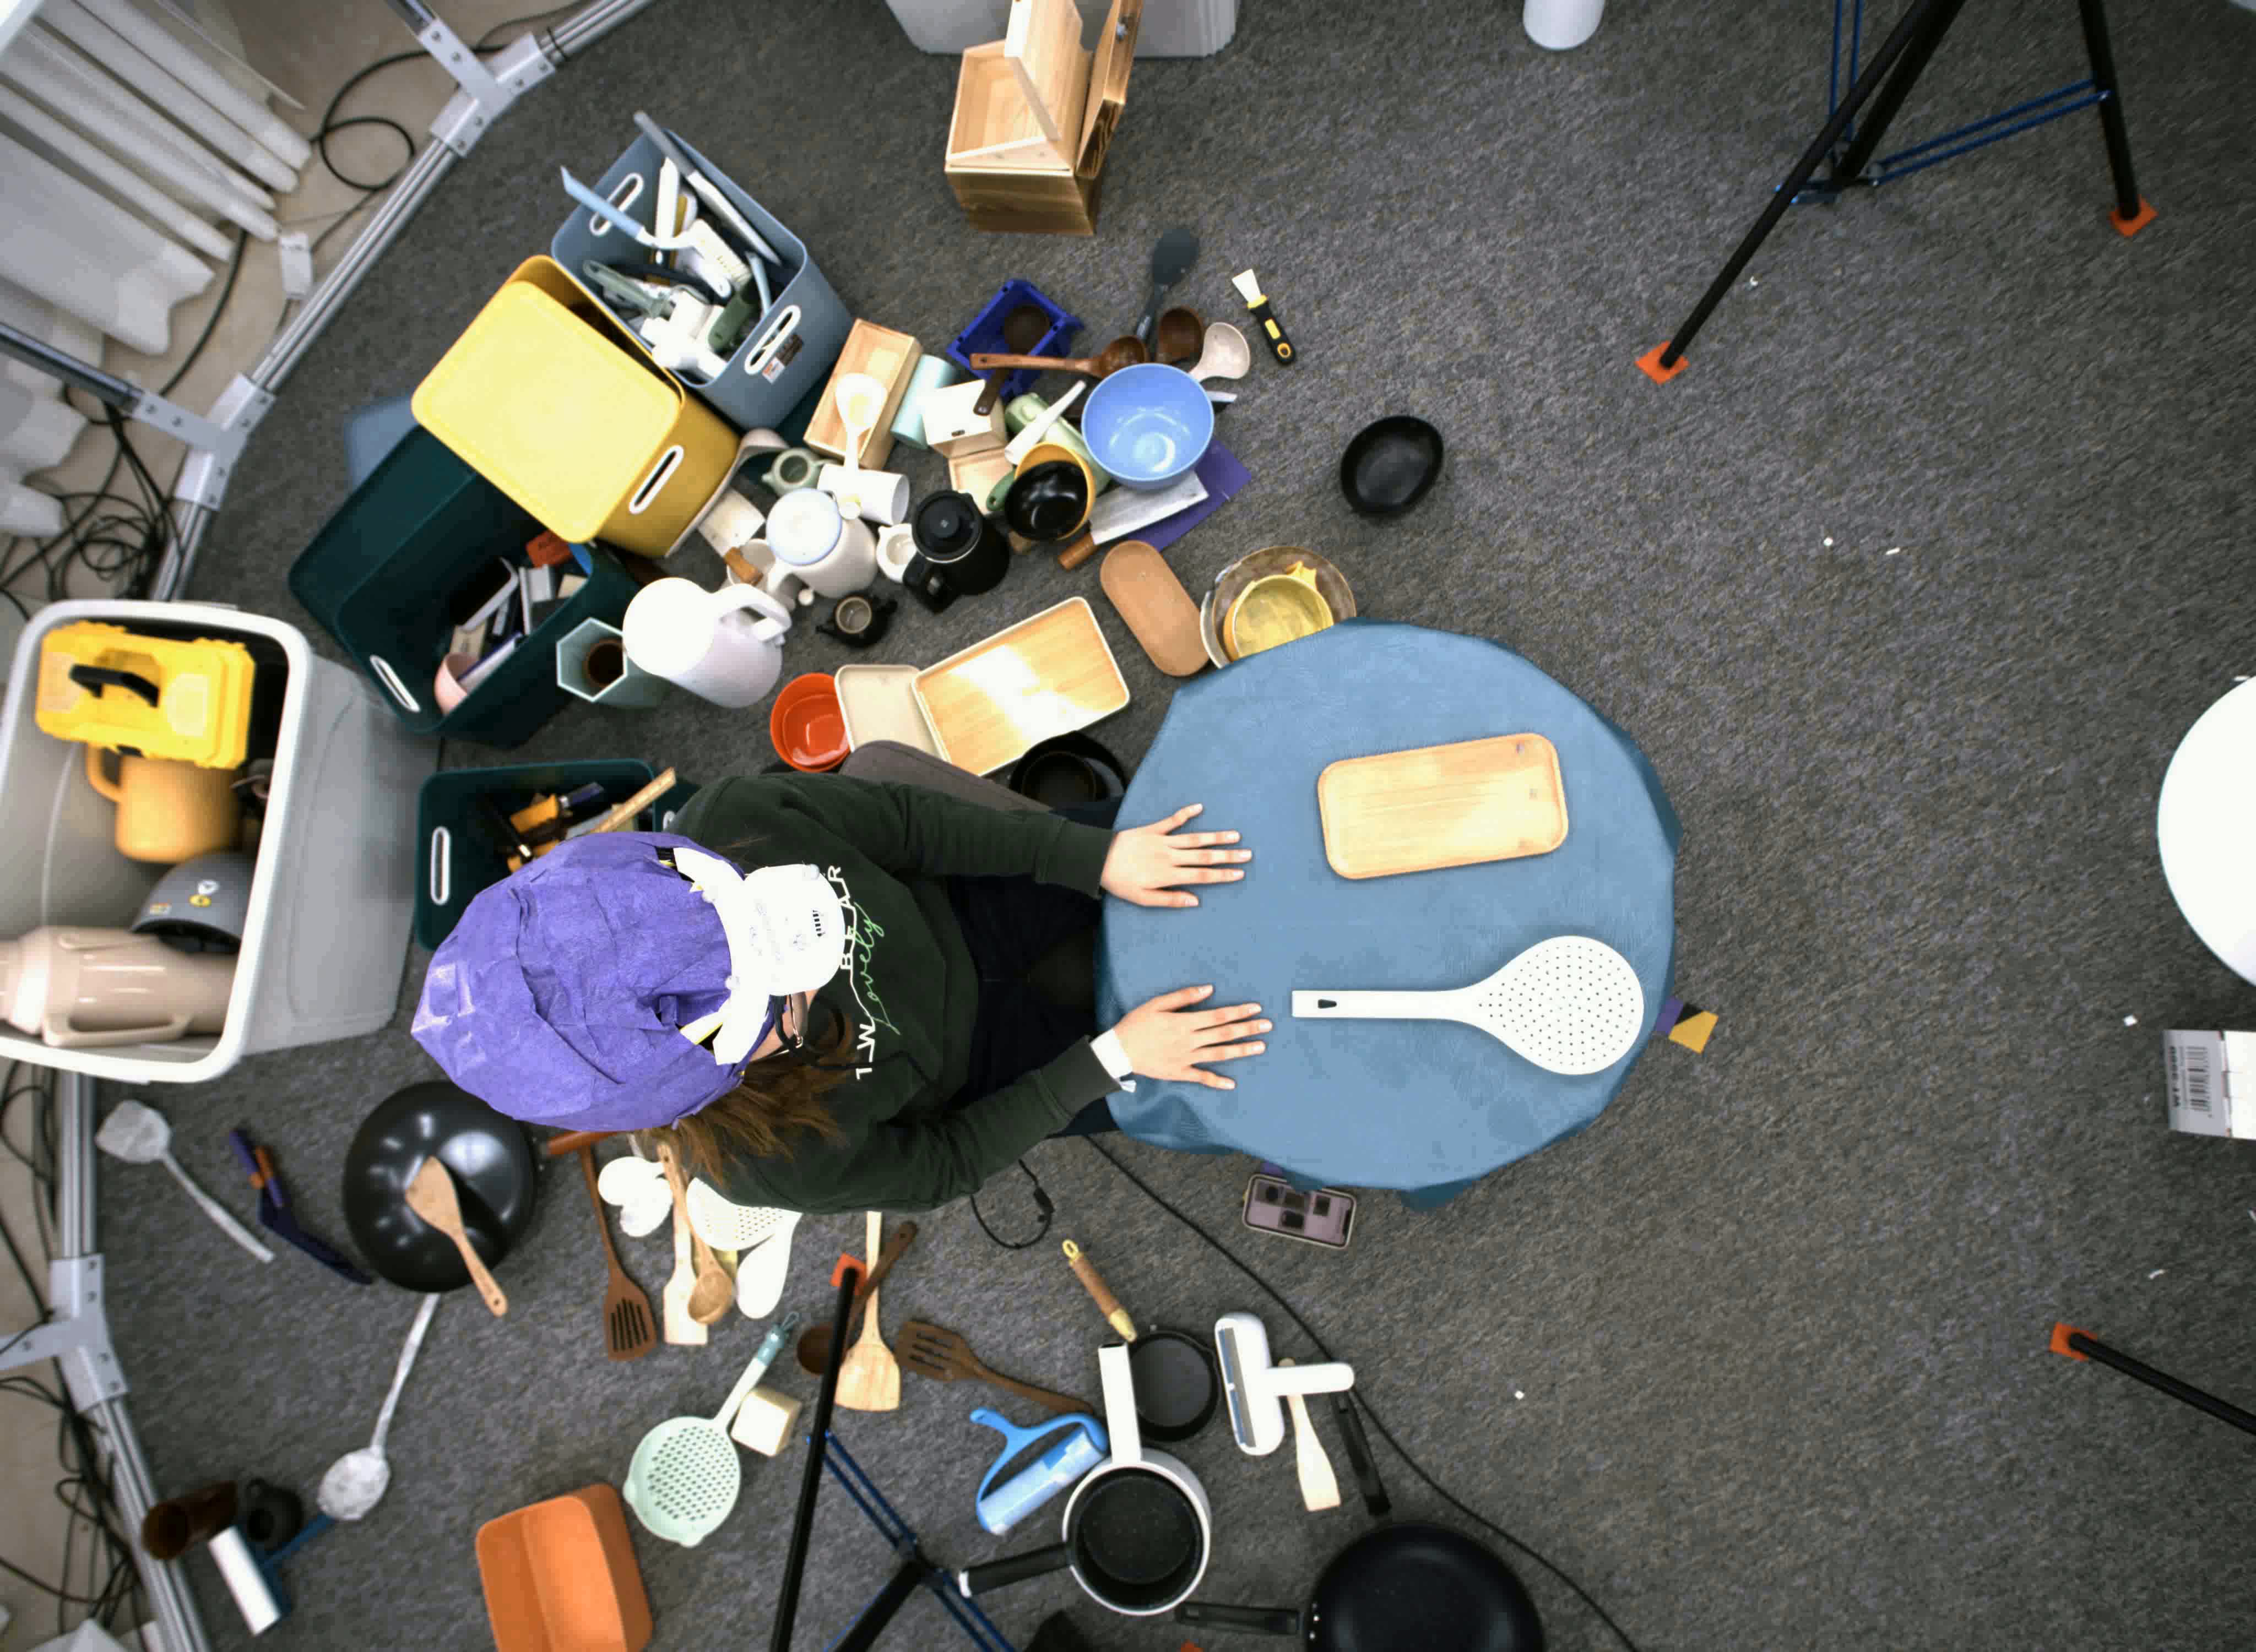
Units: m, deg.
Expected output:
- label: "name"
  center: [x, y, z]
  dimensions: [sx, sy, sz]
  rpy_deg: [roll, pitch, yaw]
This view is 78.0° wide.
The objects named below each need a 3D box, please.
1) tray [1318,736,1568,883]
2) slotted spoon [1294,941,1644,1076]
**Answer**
- label: "tray"
  center: [0.331, -0.018, 1.451]
  dimensions: [0.252, 0.023, 0.129]
  rpy_deg: [-8, 83, 11]
- label: "slotted spoon"
  center: [0.346, 0.184, 1.420]
  dimensions: [0.351, 0.046, 0.135]
  rpy_deg: [-1, 83, 11]
